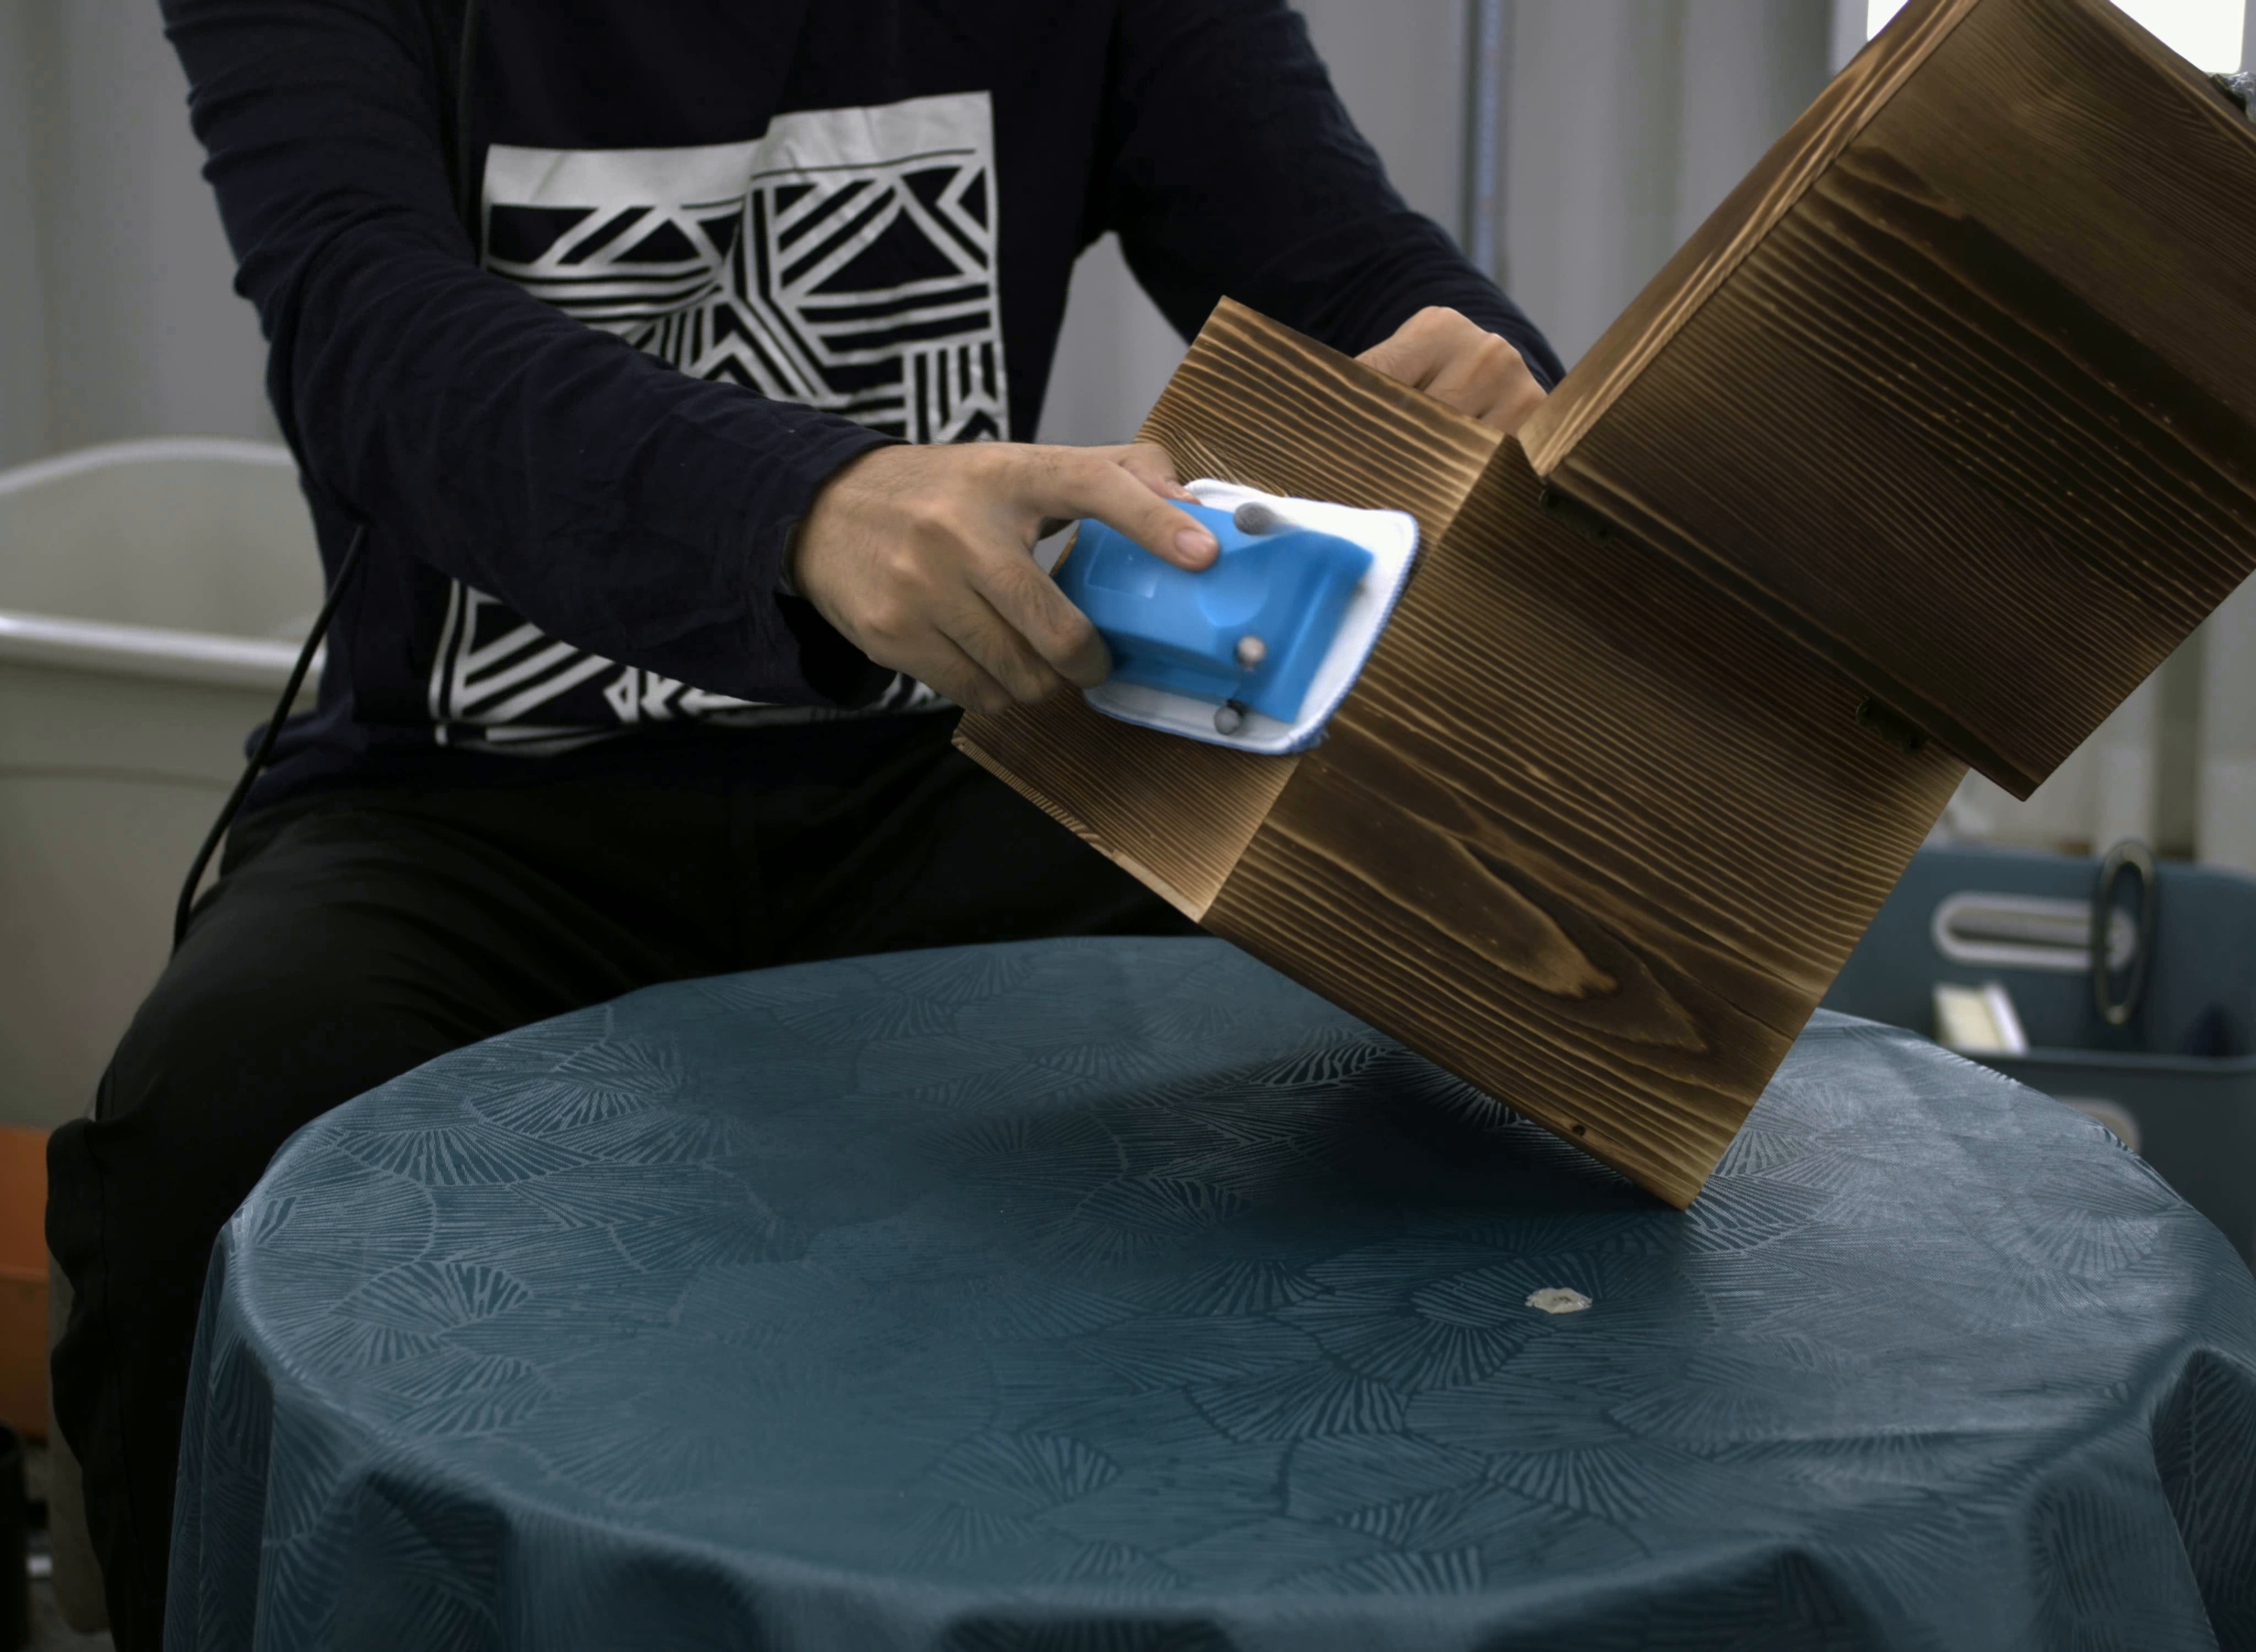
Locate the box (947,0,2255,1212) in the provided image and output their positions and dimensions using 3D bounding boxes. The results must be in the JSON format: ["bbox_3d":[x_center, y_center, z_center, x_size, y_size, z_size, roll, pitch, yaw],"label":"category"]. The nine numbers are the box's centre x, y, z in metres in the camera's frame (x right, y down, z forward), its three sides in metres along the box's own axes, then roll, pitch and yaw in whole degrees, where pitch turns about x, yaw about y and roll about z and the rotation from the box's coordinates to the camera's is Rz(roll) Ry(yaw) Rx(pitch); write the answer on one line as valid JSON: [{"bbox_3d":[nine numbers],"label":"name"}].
[{"bbox_3d":[0.173,-0.092,1.600,0.211,0.376,0.318,31,2,-29],"label":"box"}]

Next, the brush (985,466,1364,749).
[{"bbox_3d":[0.005,-0.069,1.550,0.056,0.084,0.142,36,-12,-32],"label":"brush"}]
